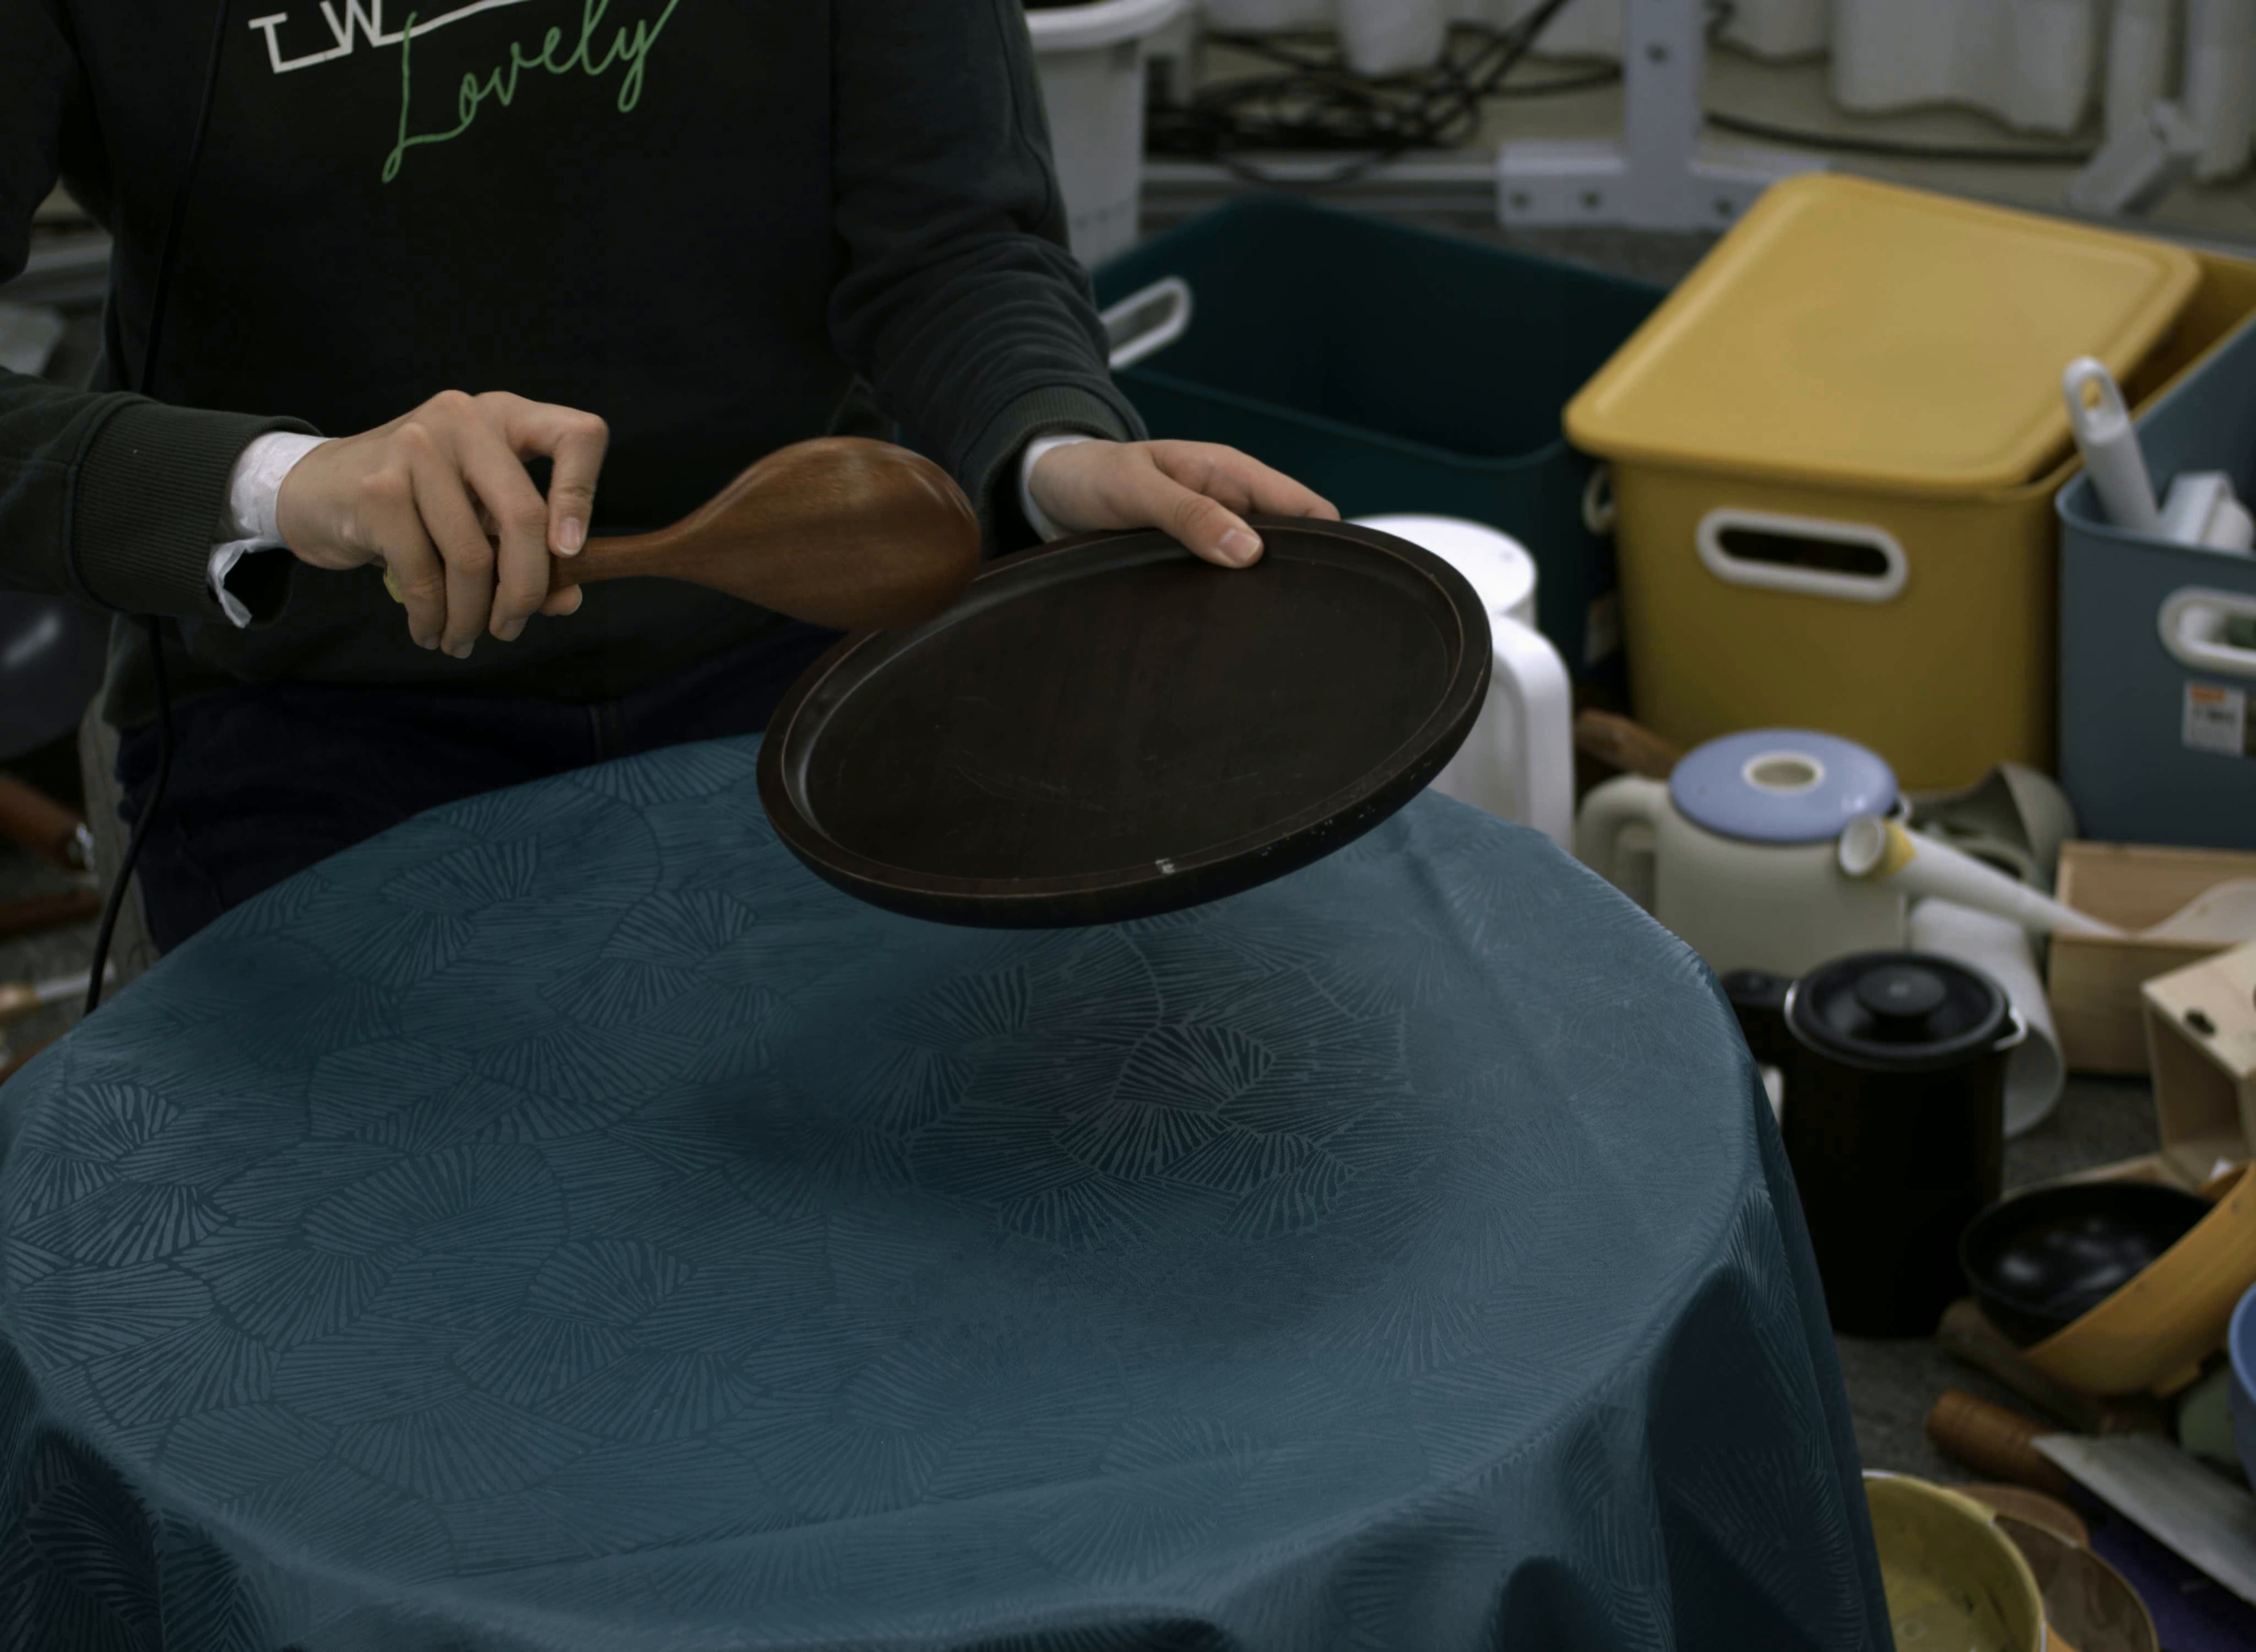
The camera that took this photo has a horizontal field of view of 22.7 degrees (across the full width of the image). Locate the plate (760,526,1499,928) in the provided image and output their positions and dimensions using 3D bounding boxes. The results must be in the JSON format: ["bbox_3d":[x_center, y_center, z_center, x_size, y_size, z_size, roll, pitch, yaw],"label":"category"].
[{"bbox_3d":[0.001,-0.035,1.889,0.253,0.029,0.259,-9,29,5],"label":"plate"}]

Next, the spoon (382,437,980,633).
[{"bbox_3d":[-0.150,-0.091,1.863,0.214,0.074,0.017,-1,32,21],"label":"spoon"}]
